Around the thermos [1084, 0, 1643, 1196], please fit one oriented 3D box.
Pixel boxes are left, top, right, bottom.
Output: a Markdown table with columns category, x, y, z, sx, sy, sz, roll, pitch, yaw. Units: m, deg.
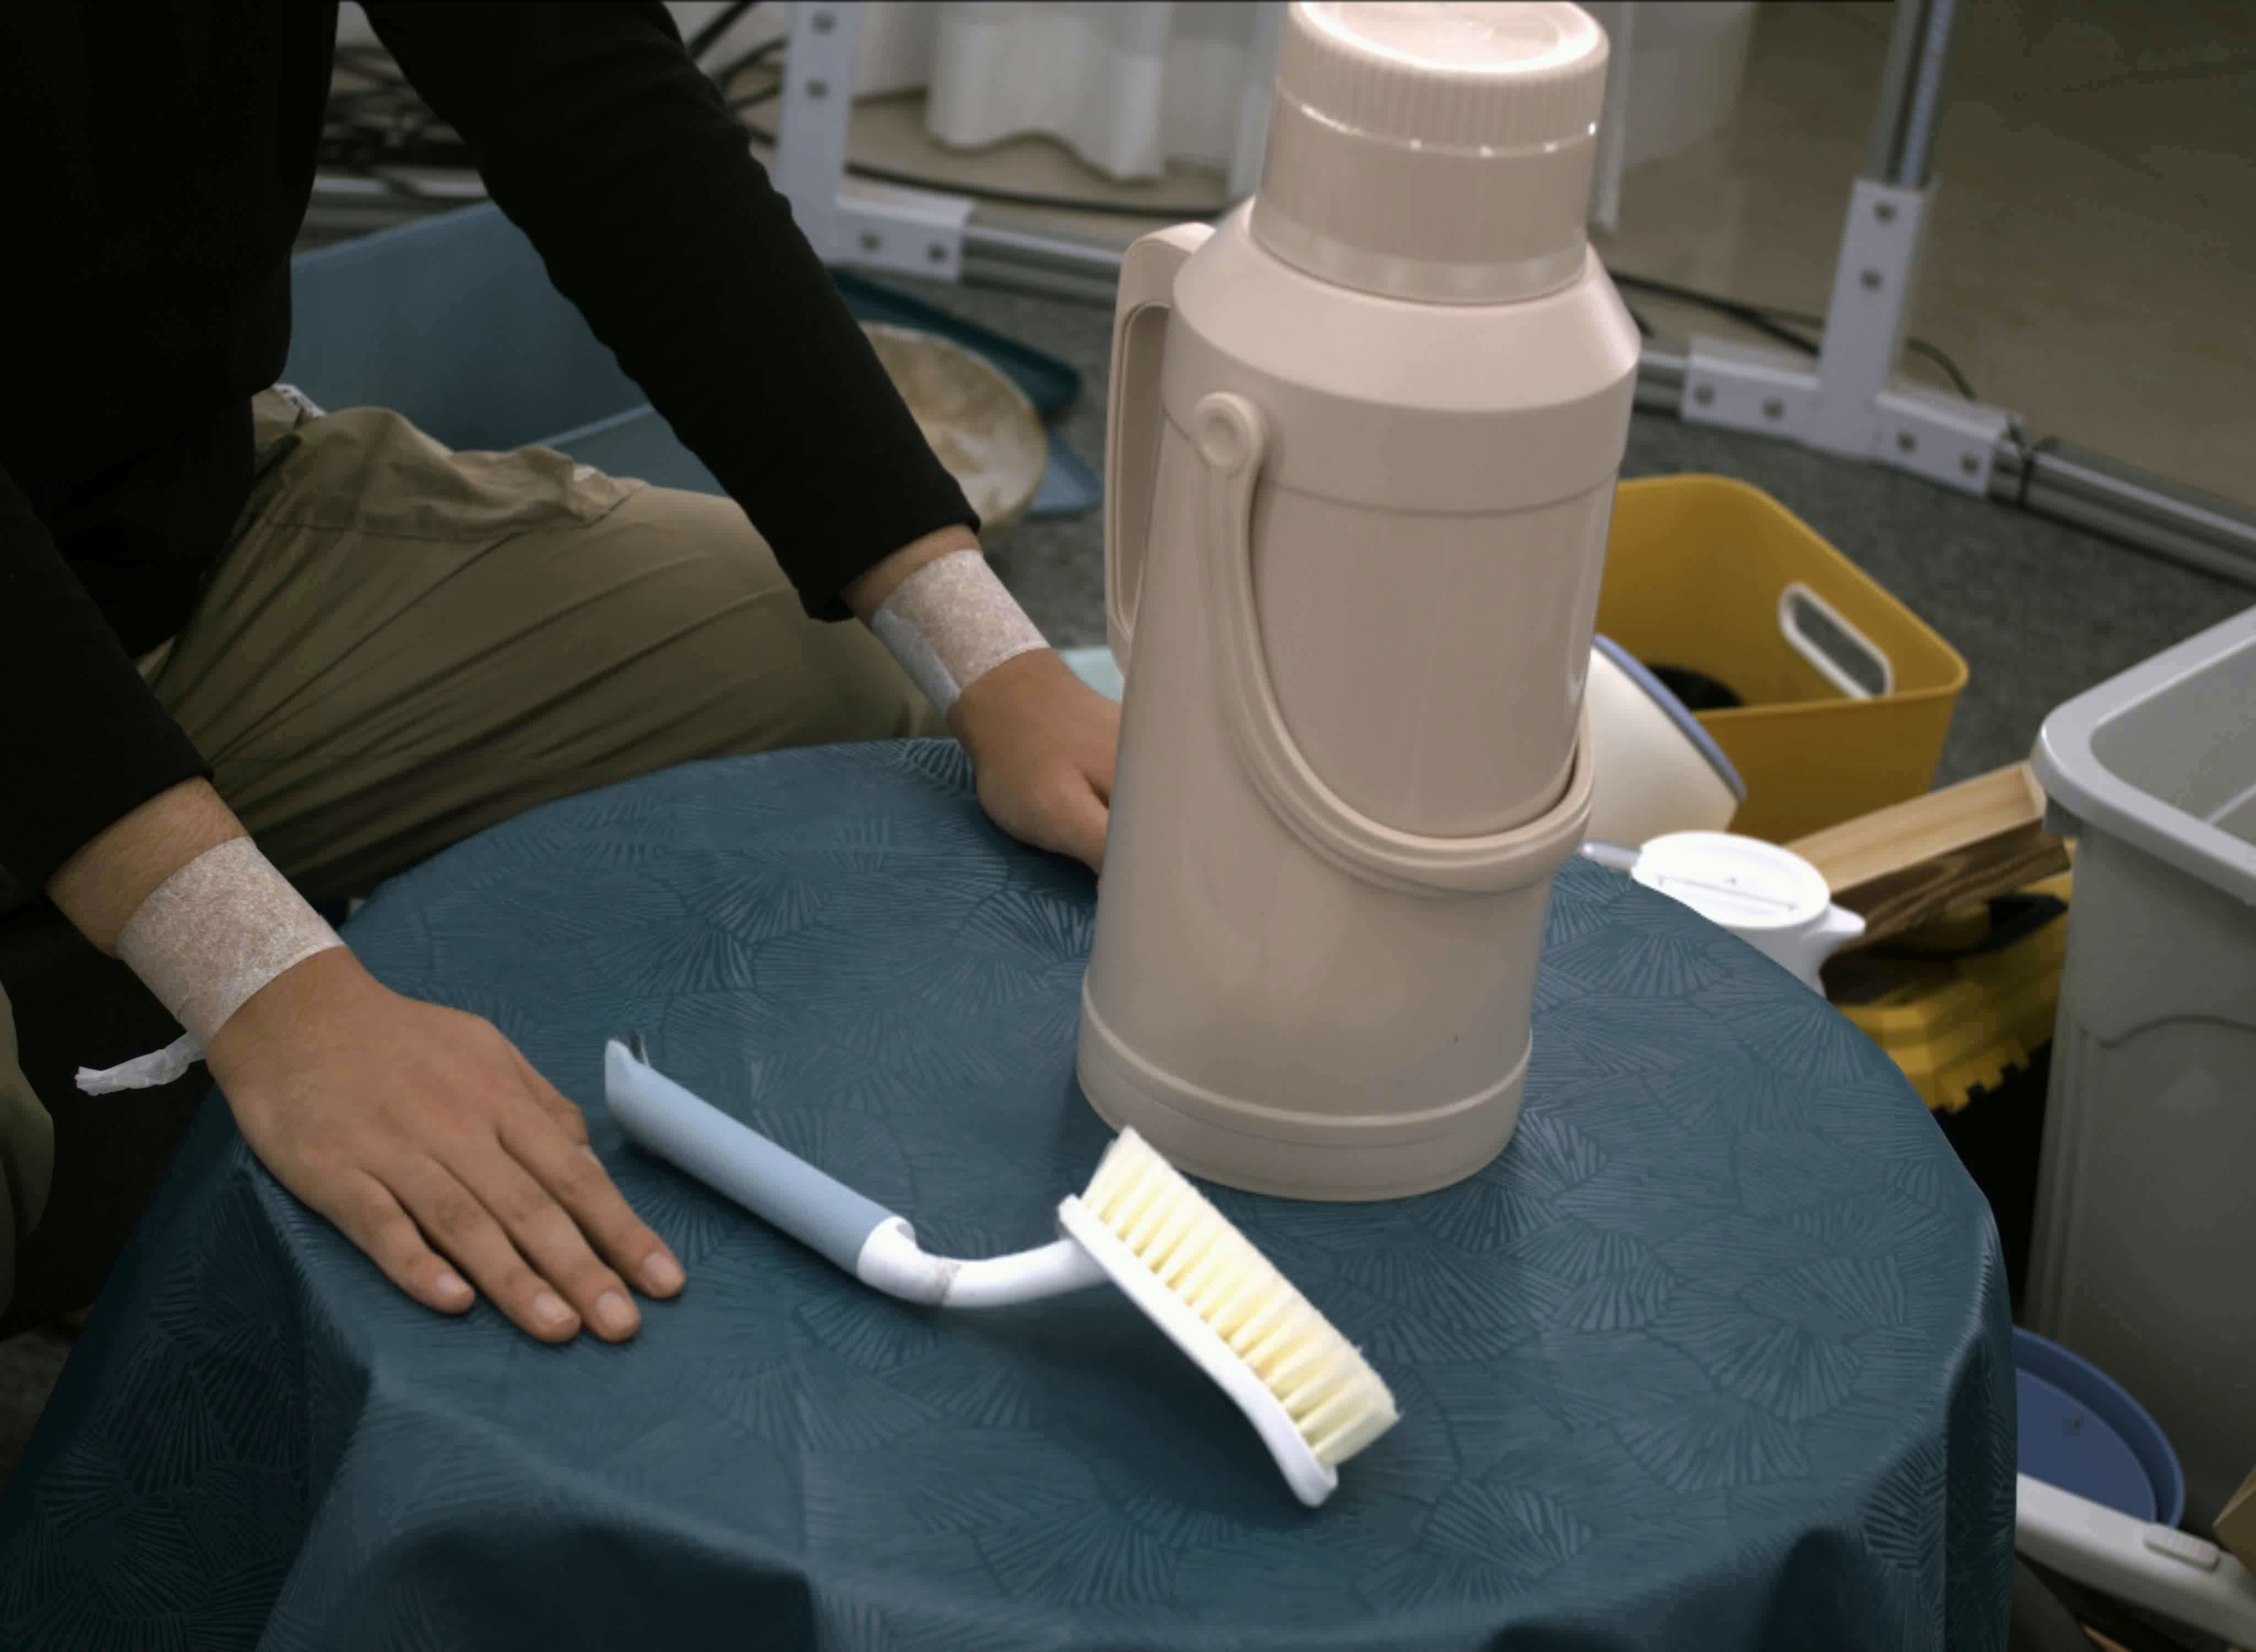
| category | x | y | z | sx | sy | sz | roll | pitch | yaw |
| --- | --- | --- | --- | --- | --- | --- | --- | --- | --- |
| thermos | 0.073 | -0.090 | 1.801 | 0.208 | 0.405 | 0.174 | 28 | 35 | 35 |

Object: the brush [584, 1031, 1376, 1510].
| category | x | y | z | sx | sy | sz | roll | pitch | yaw |
| --- | --- | --- | --- | --- | --- | --- | --- | --- | --- |
| brush | -0.046 | 0.114 | 1.721 | 0.328 | 0.083 | 0.084 | 28 | 39 | 33 |
